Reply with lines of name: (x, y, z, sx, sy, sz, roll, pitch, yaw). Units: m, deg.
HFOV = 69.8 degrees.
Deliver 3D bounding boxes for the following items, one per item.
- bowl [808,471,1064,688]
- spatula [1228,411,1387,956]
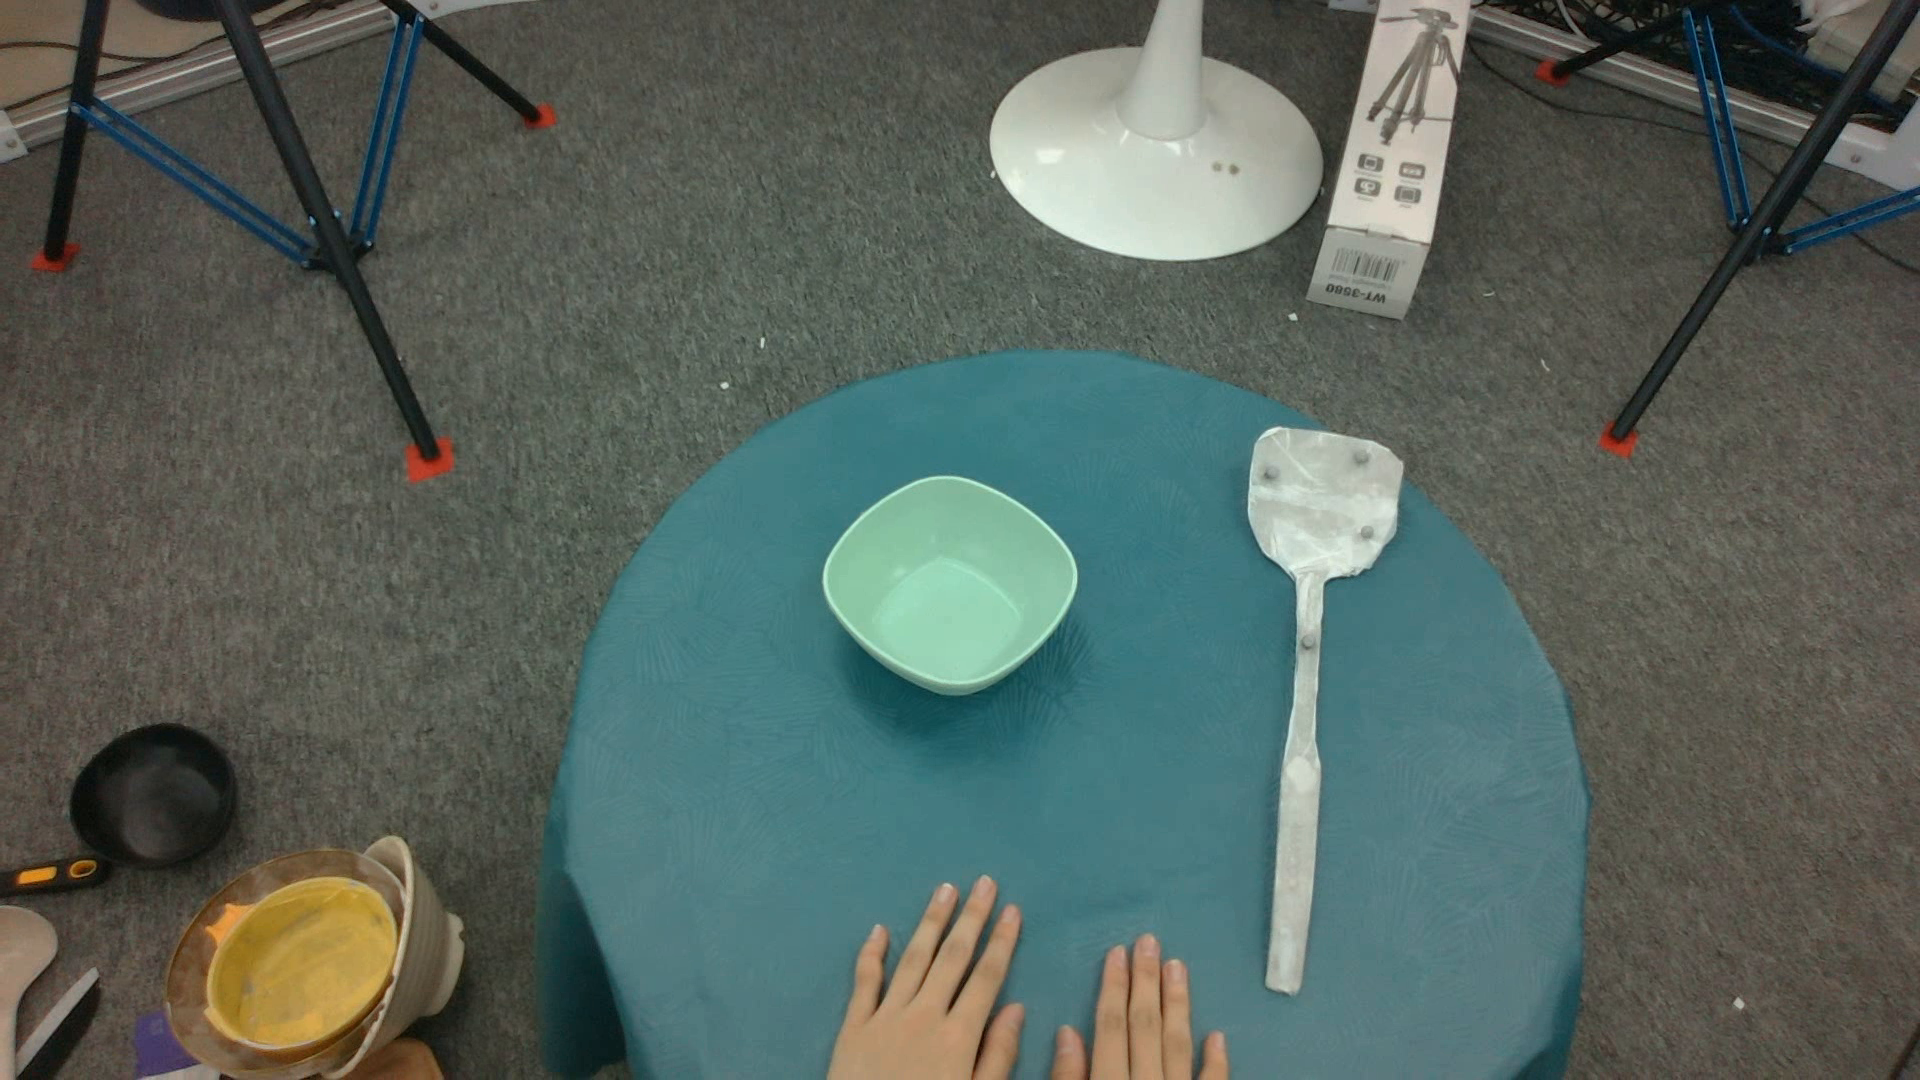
bowl: (-0.015, 0.033, 0.831, 0.151, 0.058, 0.152, 2, 51, -2)
spatula: (0.197, 0.071, 0.827, 0.098, 0.044, 0.367, 13, 53, 4)
